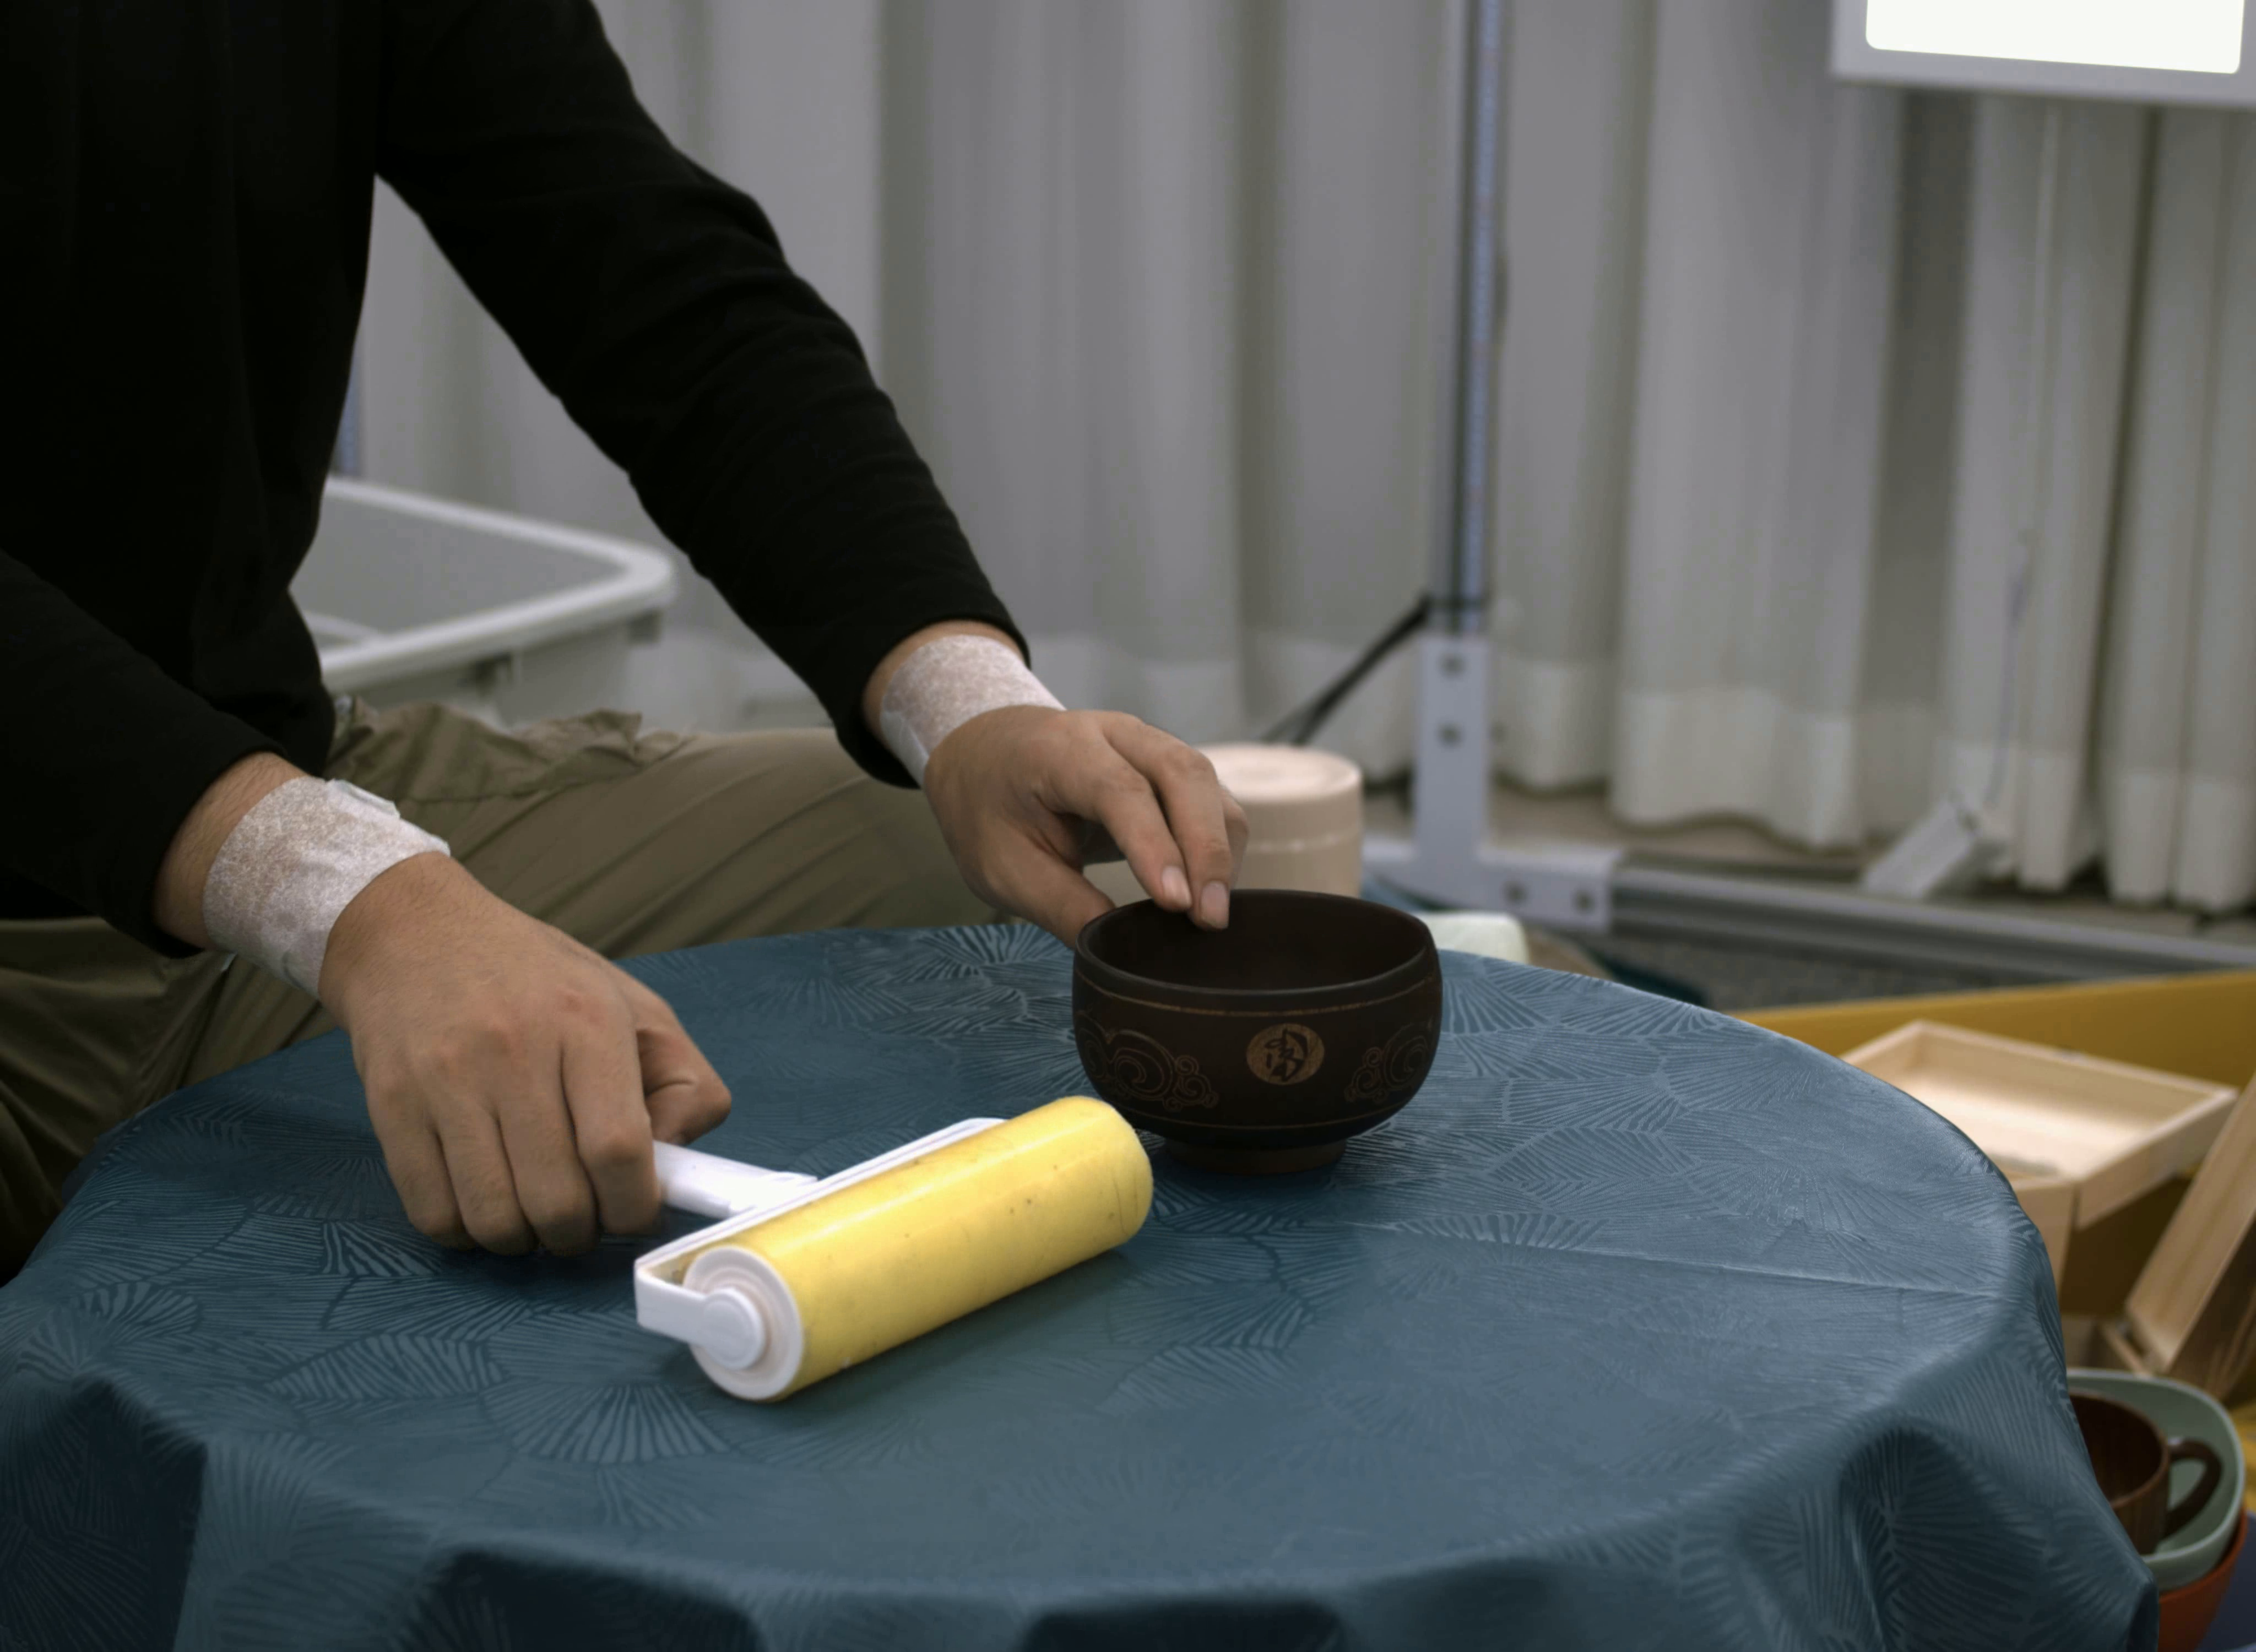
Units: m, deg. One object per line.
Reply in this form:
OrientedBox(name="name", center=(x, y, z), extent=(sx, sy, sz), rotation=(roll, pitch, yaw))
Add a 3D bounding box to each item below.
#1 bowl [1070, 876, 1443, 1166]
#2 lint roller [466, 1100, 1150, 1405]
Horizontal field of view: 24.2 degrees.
OrientedBox(name="bowl", center=(0.040, 0.065, 1.652), extent=(0.117, 0.070, 0.117), rotation=(2, 16, 0))
OrientedBox(name="lint roller", center=(-0.117, 0.100, 1.539), extent=(0.189, 0.052, 0.175), rotation=(21, 24, 29))
